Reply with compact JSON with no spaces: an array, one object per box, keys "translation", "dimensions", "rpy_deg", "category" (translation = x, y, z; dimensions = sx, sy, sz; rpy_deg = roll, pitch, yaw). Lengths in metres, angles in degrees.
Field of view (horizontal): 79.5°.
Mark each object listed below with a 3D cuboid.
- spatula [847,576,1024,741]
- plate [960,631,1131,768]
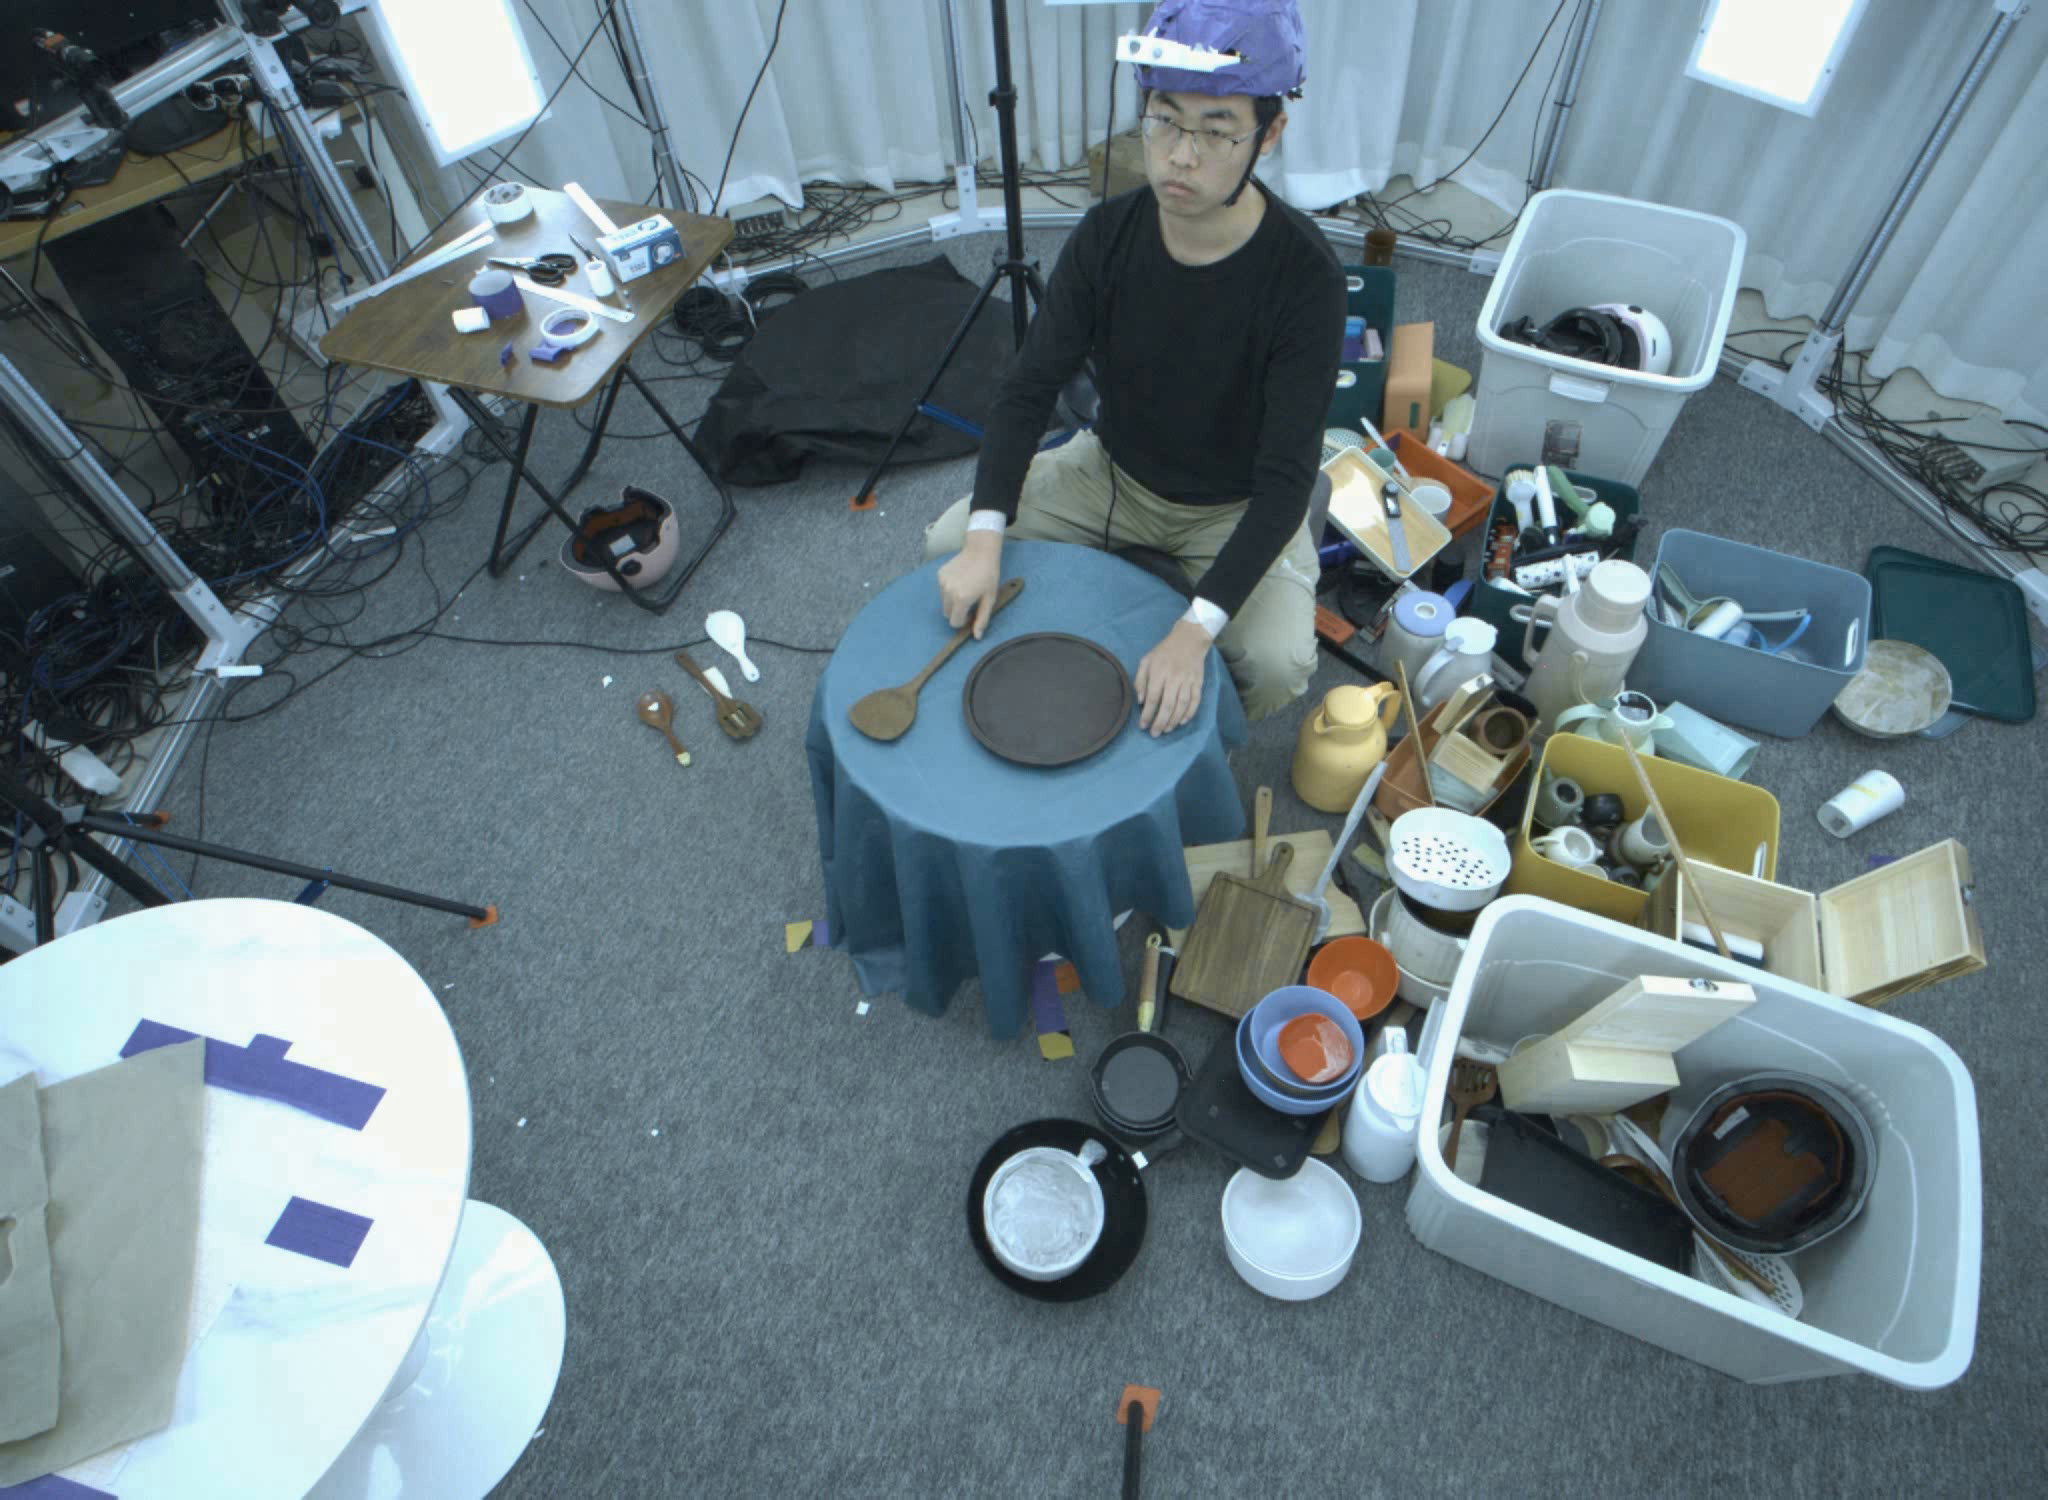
[{"translation":[-0.121,-0.152,1.891],"dimensions":[0.094,0.016,0.388],"rpy_deg":[31,61,21],"category":"spatula"},{"translation":[0.032,-0.077,1.826],"dimensions":[0.254,0.029,0.252],"rpy_deg":[-1,55,3],"category":"plate"}]
